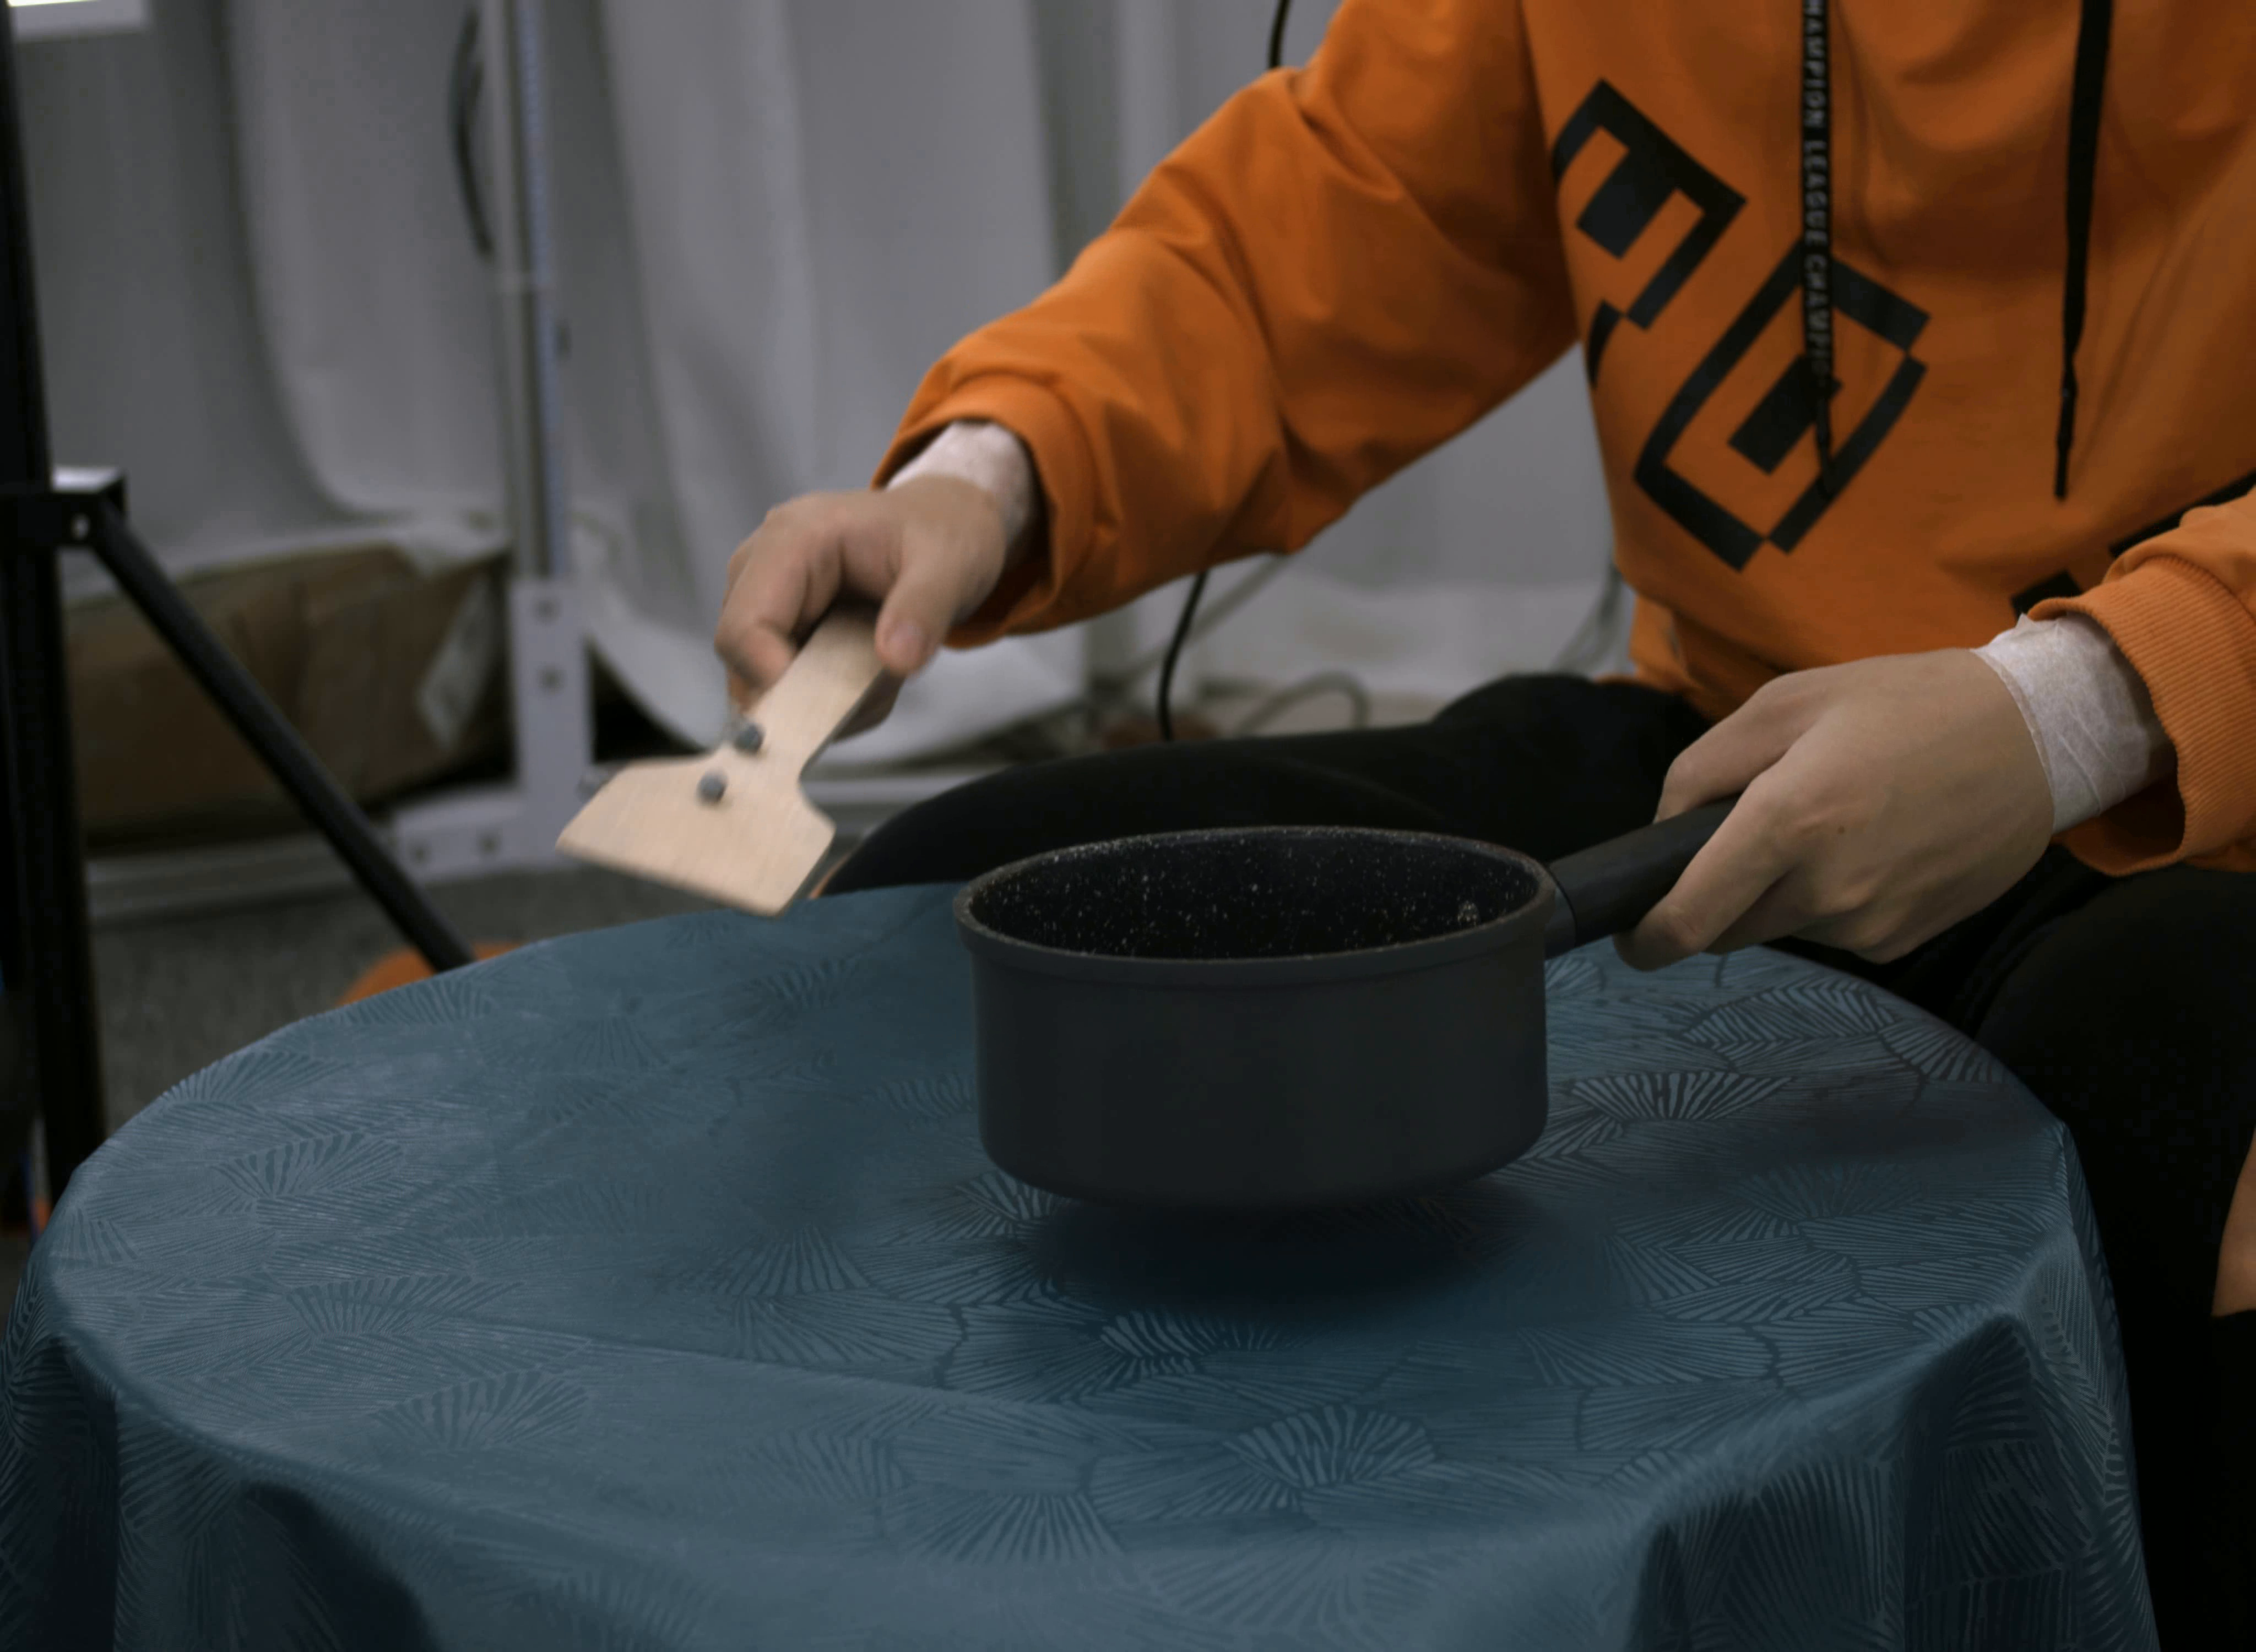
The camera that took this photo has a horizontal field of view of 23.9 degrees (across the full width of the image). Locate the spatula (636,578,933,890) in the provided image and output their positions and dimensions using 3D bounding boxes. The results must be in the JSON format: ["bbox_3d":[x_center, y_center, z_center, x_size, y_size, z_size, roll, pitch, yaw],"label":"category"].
[{"bbox_3d":[-0.095,-0.037,1.655,0.072,0.011,0.292,26,18,-1],"label":"spatula"}]

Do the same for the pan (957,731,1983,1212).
[{"bbox_3d":[0.108,0.039,1.539,0.322,0.086,0.175,-10,14,-24],"label":"pan"}]
